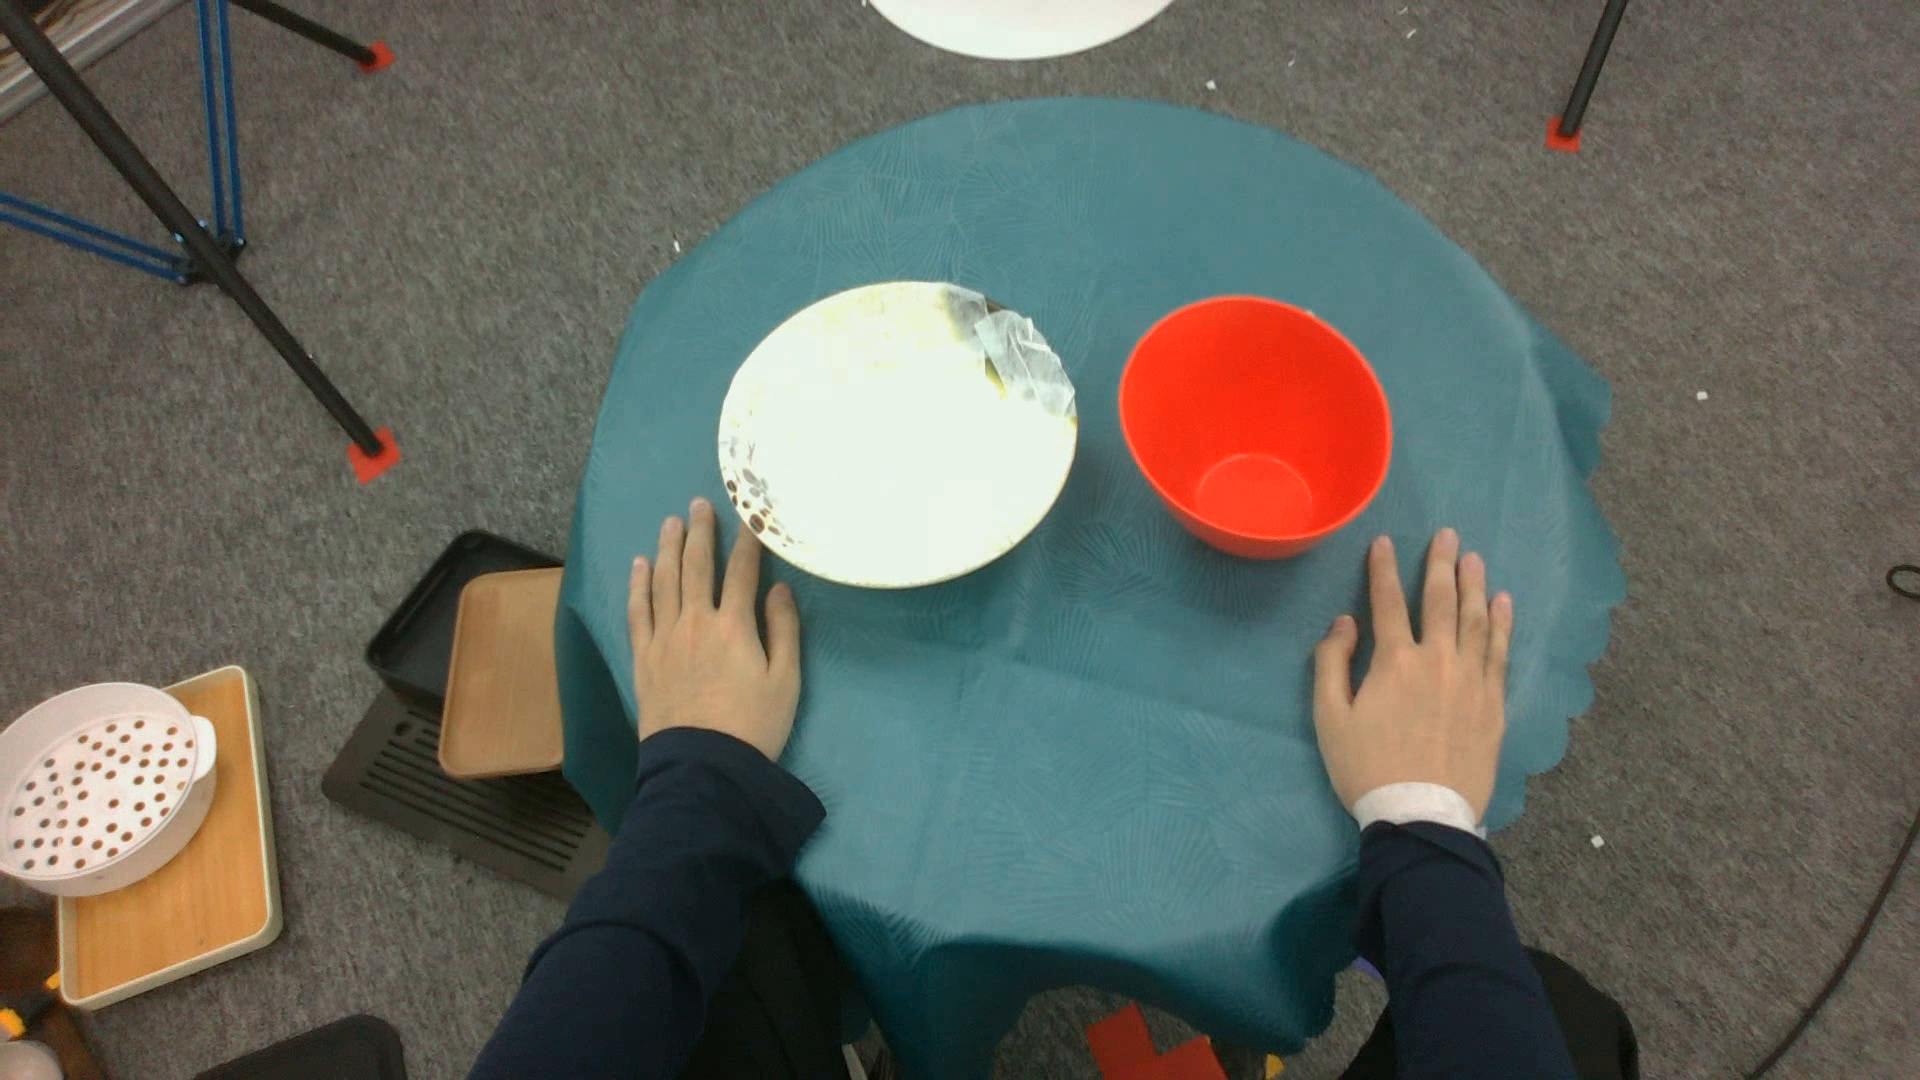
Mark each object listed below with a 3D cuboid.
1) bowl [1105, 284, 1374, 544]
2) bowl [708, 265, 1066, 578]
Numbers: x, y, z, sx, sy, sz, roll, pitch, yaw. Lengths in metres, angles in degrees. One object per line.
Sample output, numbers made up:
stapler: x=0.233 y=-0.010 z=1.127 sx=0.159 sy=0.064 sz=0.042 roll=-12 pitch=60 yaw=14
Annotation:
bowl: x=0.154 y=-0.057 z=0.780 sx=0.148 sy=0.104 sz=0.148 roll=-1 pitch=62 yaw=2
bowl: x=-0.039 y=-0.057 z=0.806 sx=0.204 sy=0.077 sz=0.205 roll=-2 pitch=64 yaw=5
